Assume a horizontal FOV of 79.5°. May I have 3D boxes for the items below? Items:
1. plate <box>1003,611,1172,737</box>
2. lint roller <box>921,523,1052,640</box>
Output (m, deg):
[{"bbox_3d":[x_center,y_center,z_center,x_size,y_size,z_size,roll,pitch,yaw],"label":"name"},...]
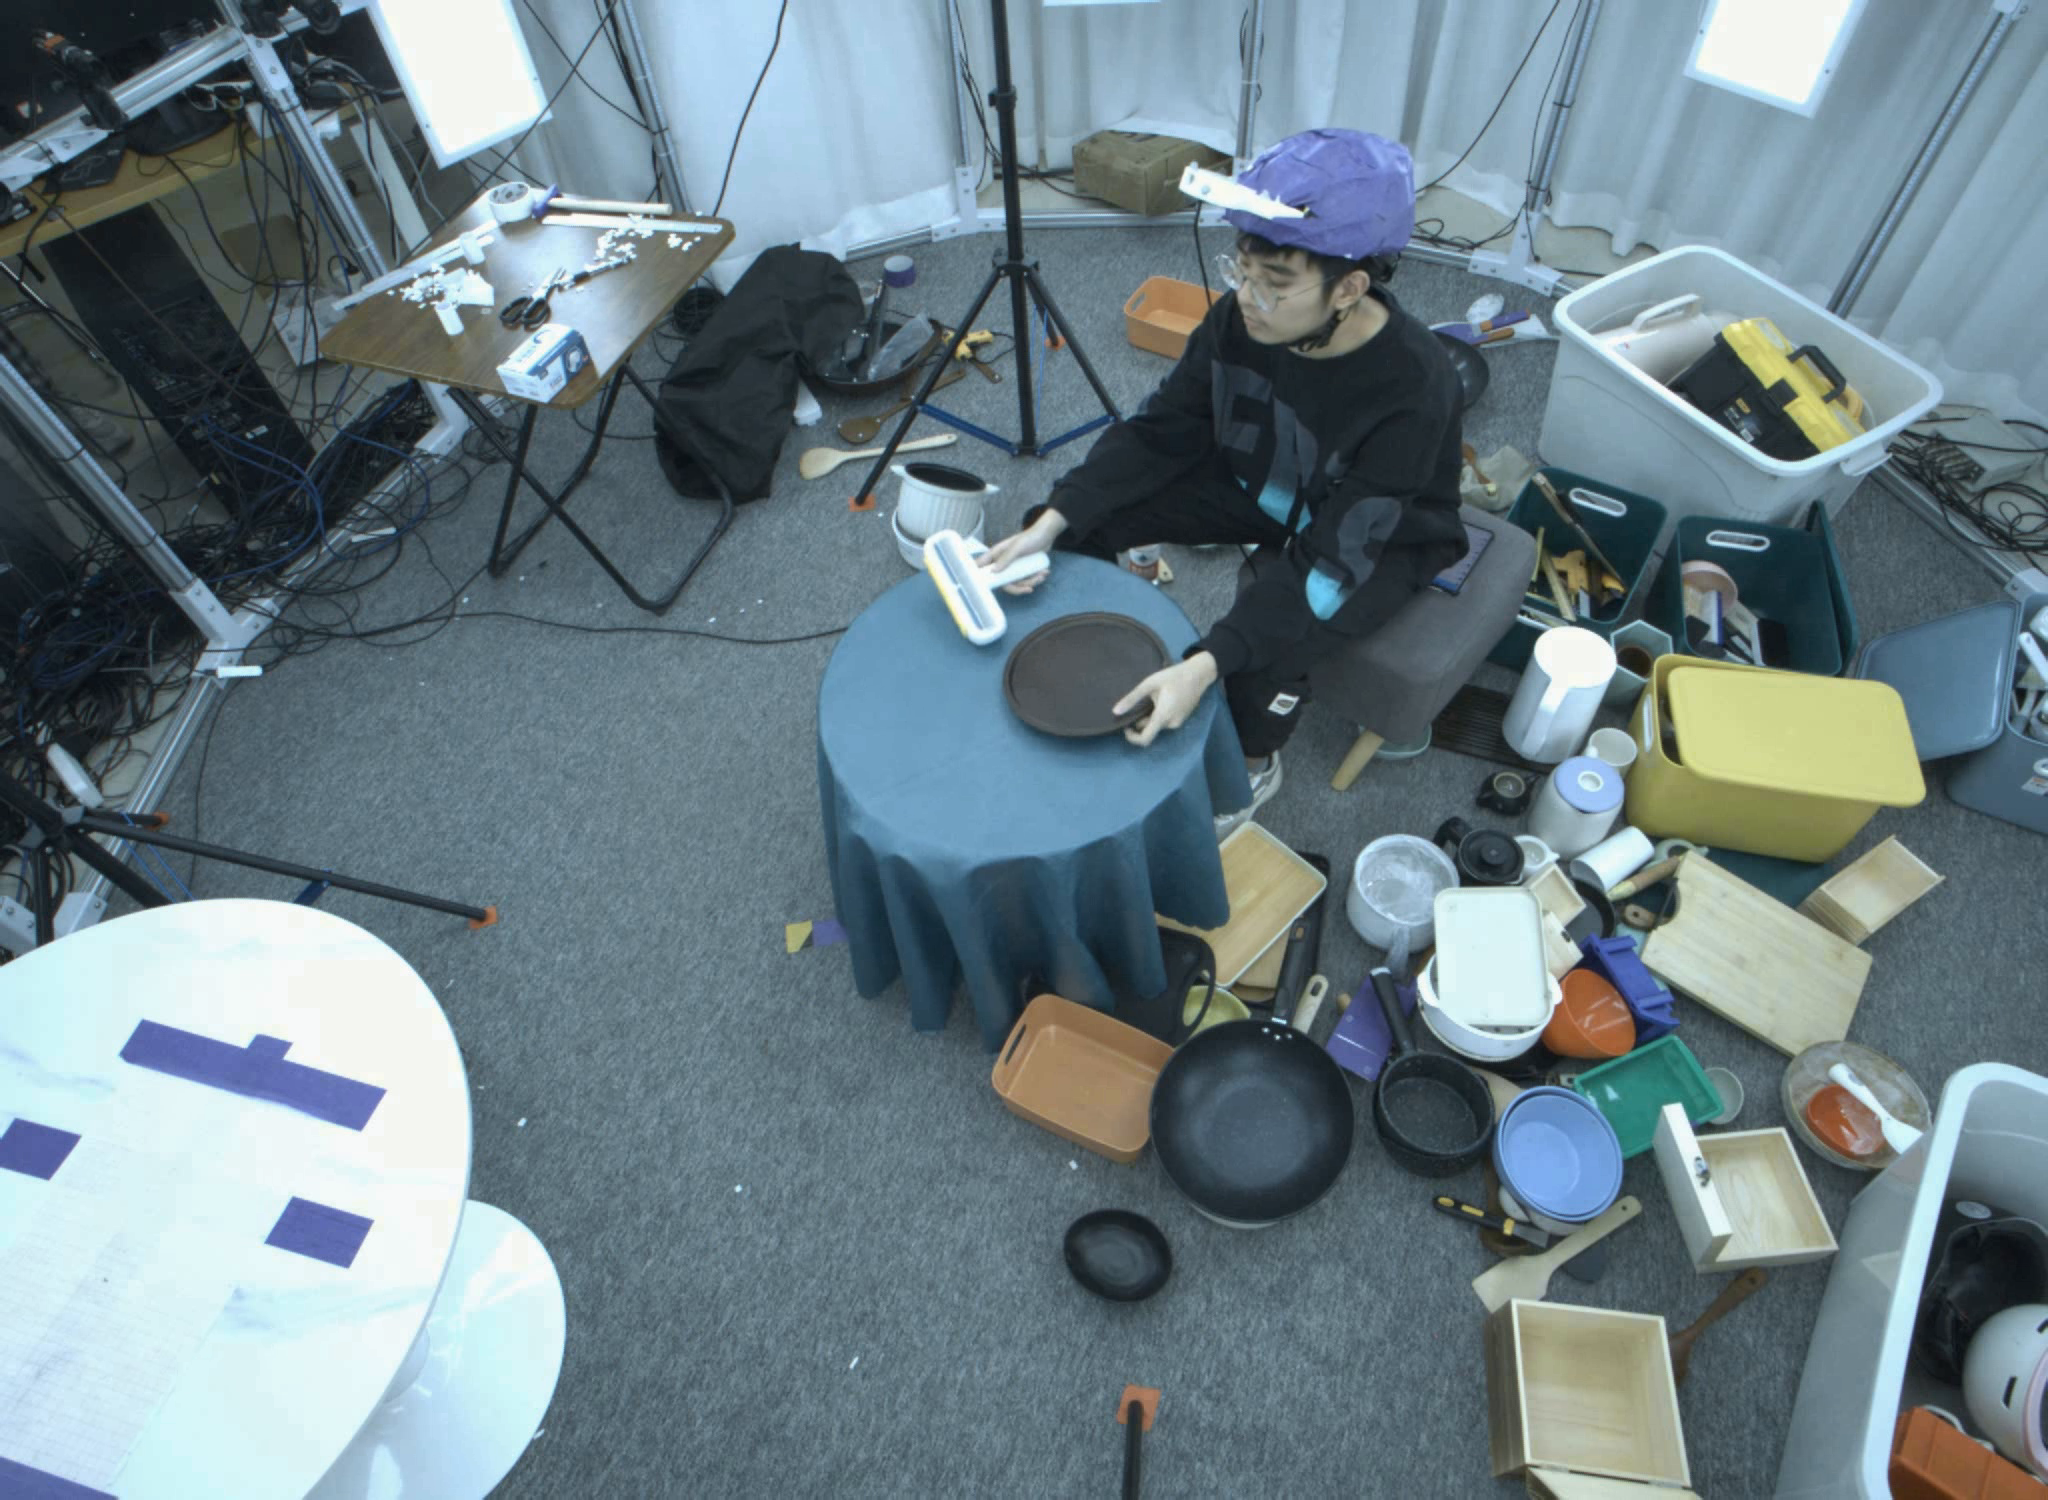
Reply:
[{"bbox_3d":[0.094,-0.114,1.831,0.254,0.029,0.252,-4,49,5],"label":"plate"},{"bbox_3d":[-0.045,-0.279,1.917,0.194,0.074,0.191,-22,76,-14],"label":"lint roller"}]
